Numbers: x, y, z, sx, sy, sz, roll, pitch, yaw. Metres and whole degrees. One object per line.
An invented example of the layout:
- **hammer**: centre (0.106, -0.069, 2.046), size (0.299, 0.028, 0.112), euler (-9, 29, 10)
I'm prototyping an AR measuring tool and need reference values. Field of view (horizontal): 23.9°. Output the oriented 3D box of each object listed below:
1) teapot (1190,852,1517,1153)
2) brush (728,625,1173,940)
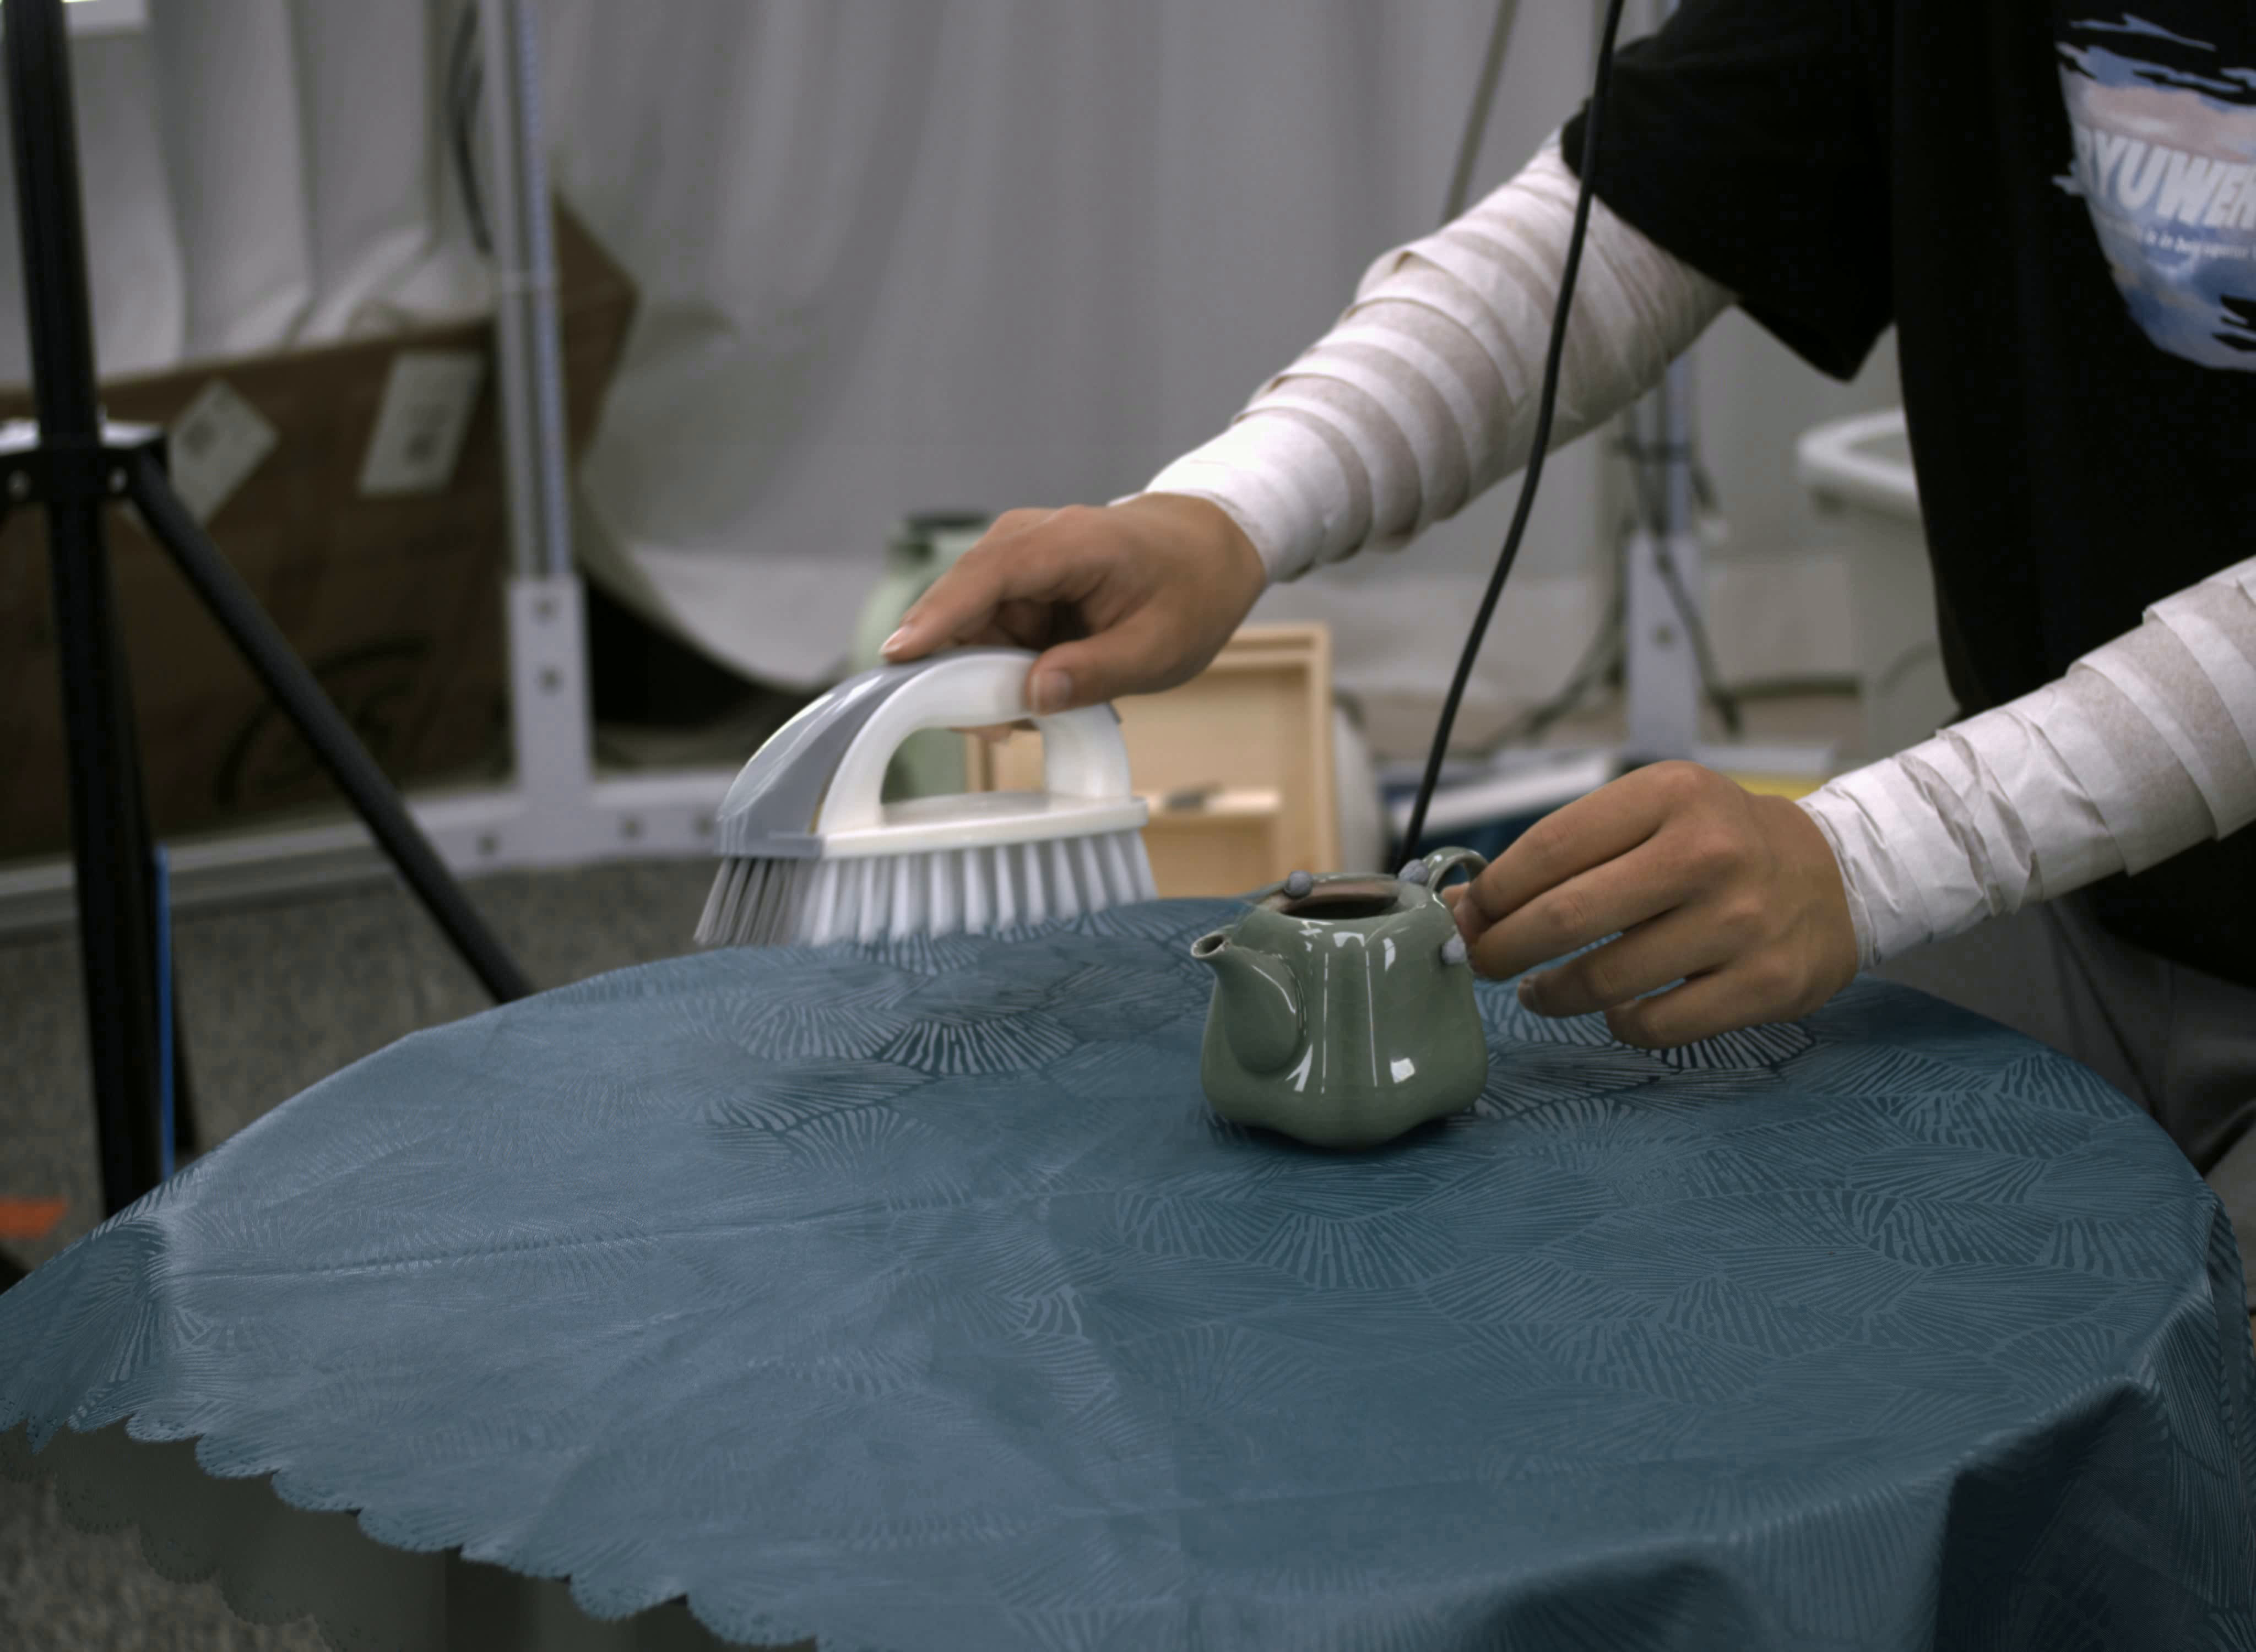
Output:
- **teapot**: centre (0.068, 0.054, 1.608), size (0.129, 0.075, 0.081), euler (-13, 21, -39)
- **brush**: centre (-0.063, -0.014, 1.697), size (0.171, 0.094, 0.063), euler (-9, 7, -42)
